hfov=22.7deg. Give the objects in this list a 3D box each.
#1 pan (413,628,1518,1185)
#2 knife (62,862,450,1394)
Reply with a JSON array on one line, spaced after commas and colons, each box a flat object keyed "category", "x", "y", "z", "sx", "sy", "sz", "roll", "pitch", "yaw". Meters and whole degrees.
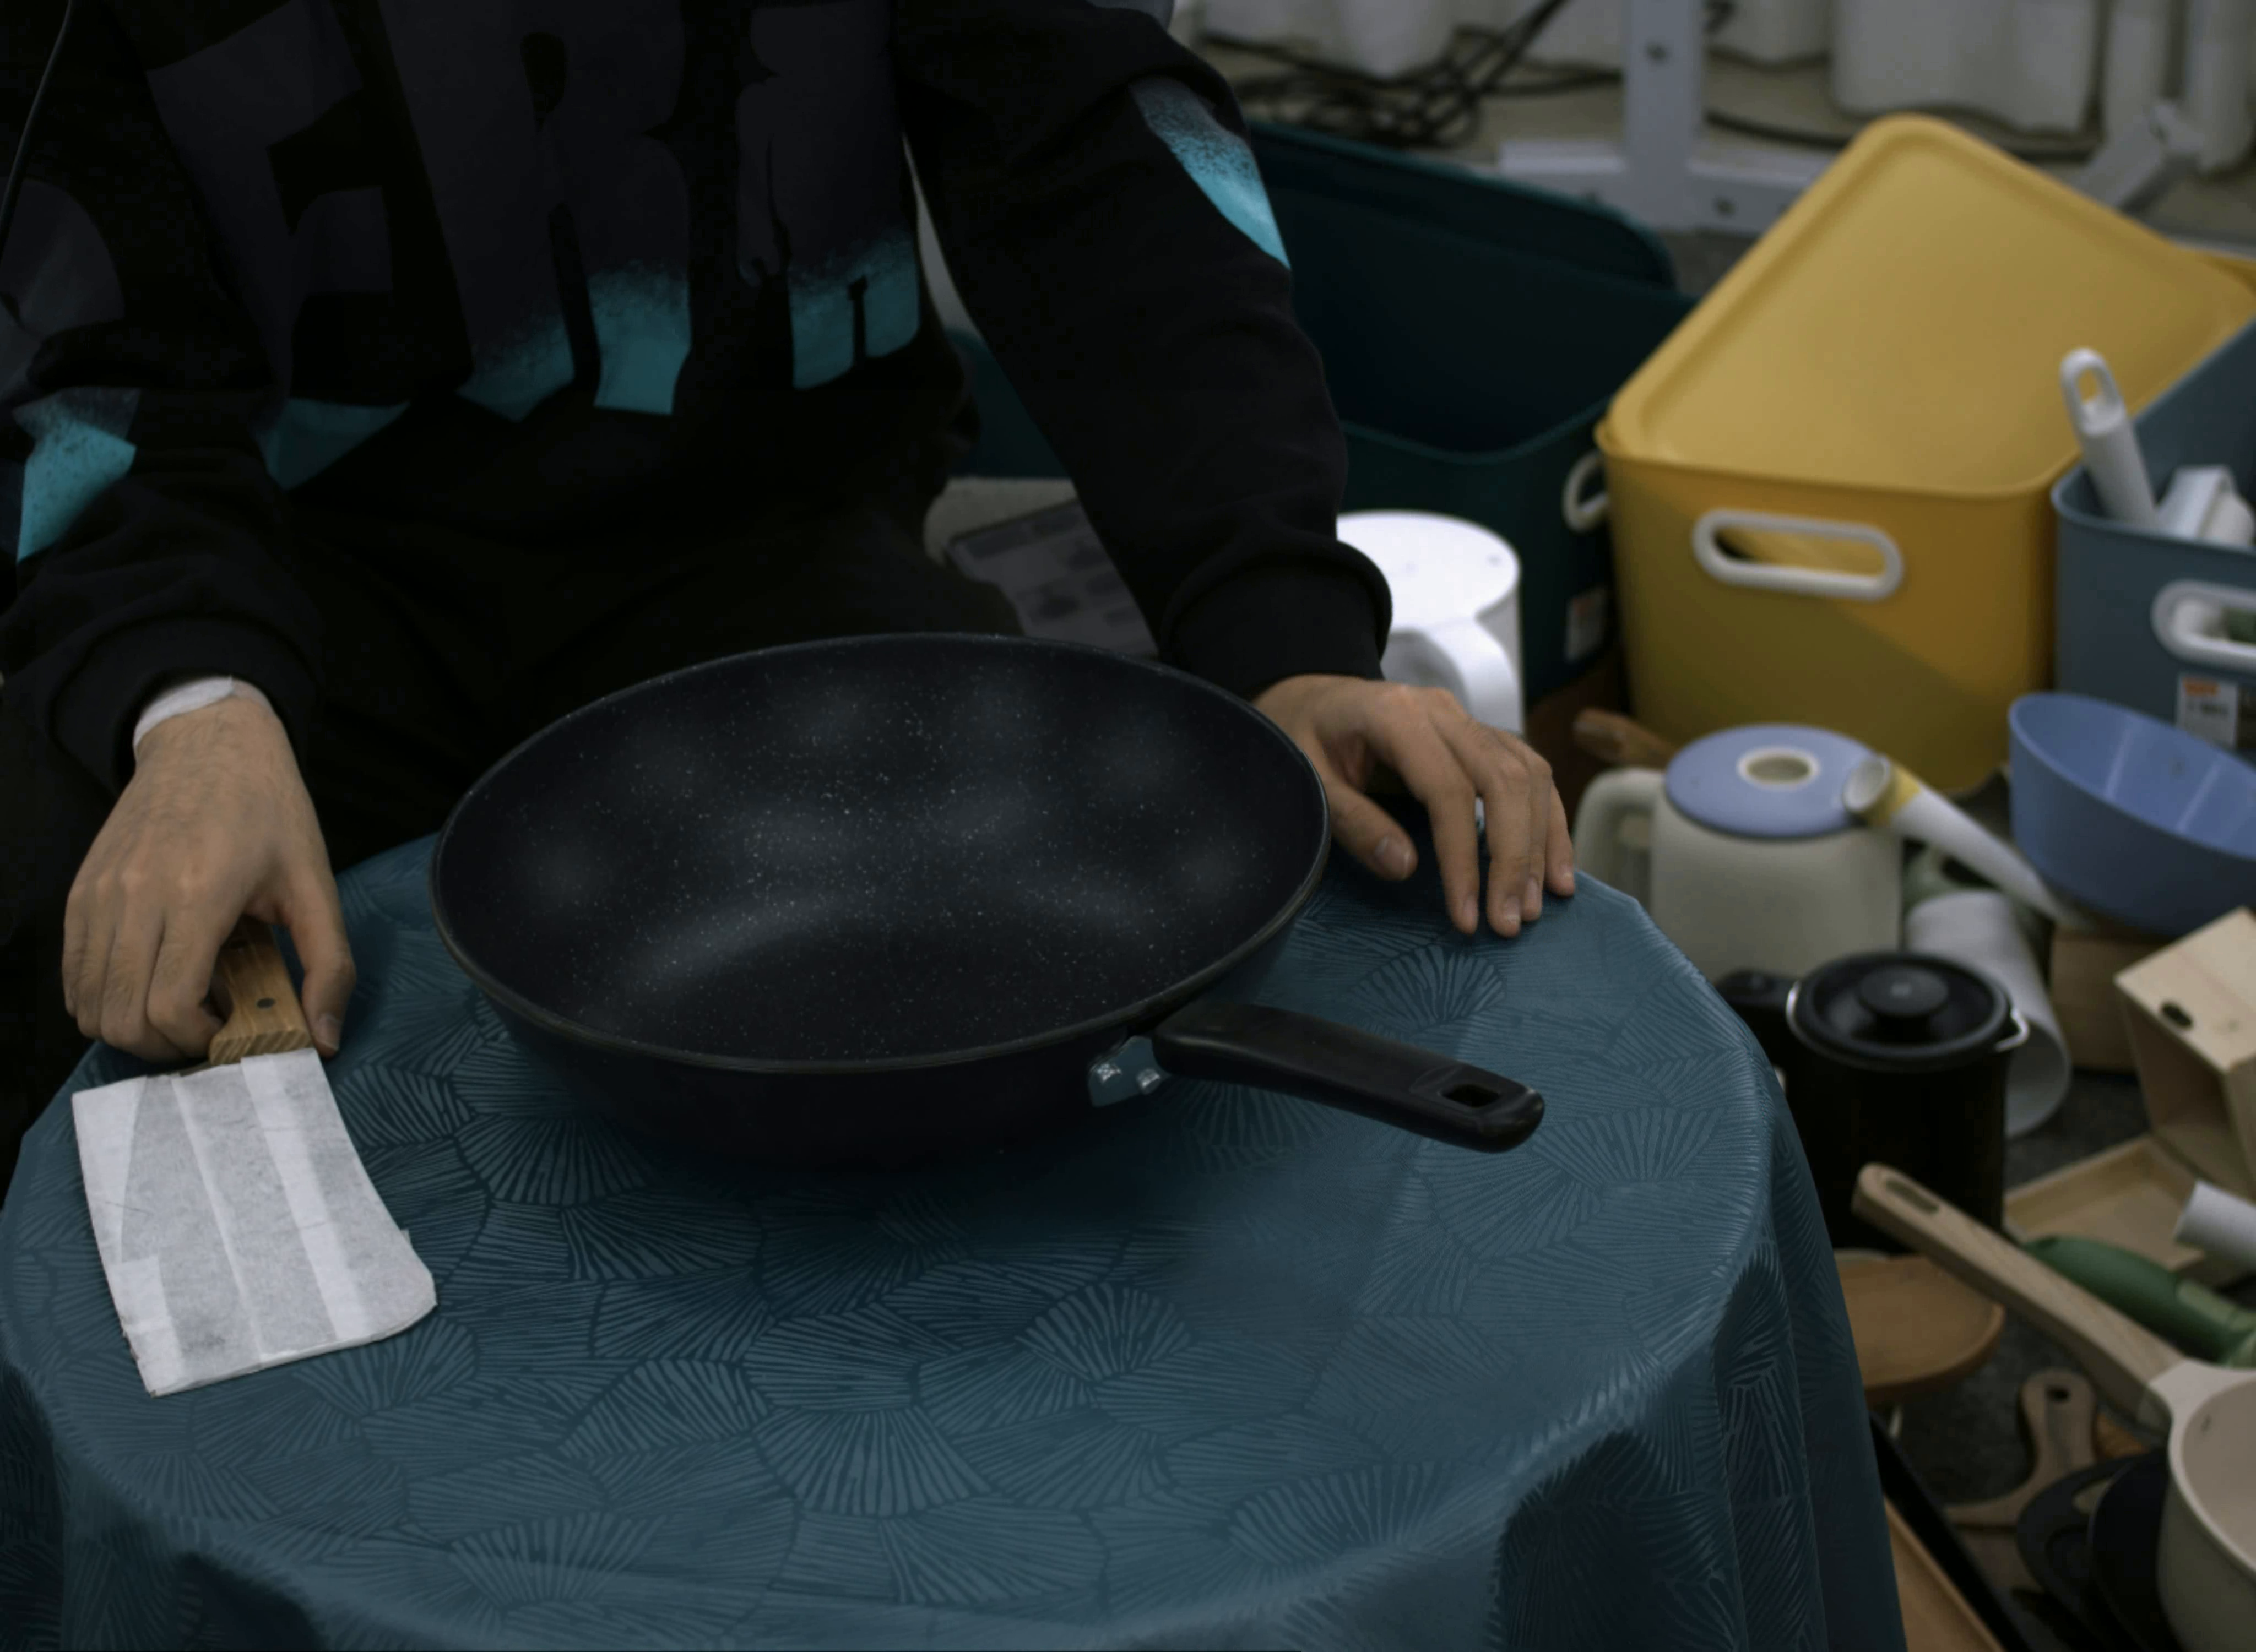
[{"category": "pan", "x": -0.036, "y": 0.057, "z": 1.878, "sx": 0.313, "sy": 0.110, "sz": 0.477, "roll": -25, "pitch": 34, "yaw": -33}, {"category": "knife", "x": -0.305, "y": 0.099, "z": 1.918, "sx": 0.114, "sy": 0.021, "sz": 0.319, "roll": -9, "pitch": 31, "yaw": -11}]
